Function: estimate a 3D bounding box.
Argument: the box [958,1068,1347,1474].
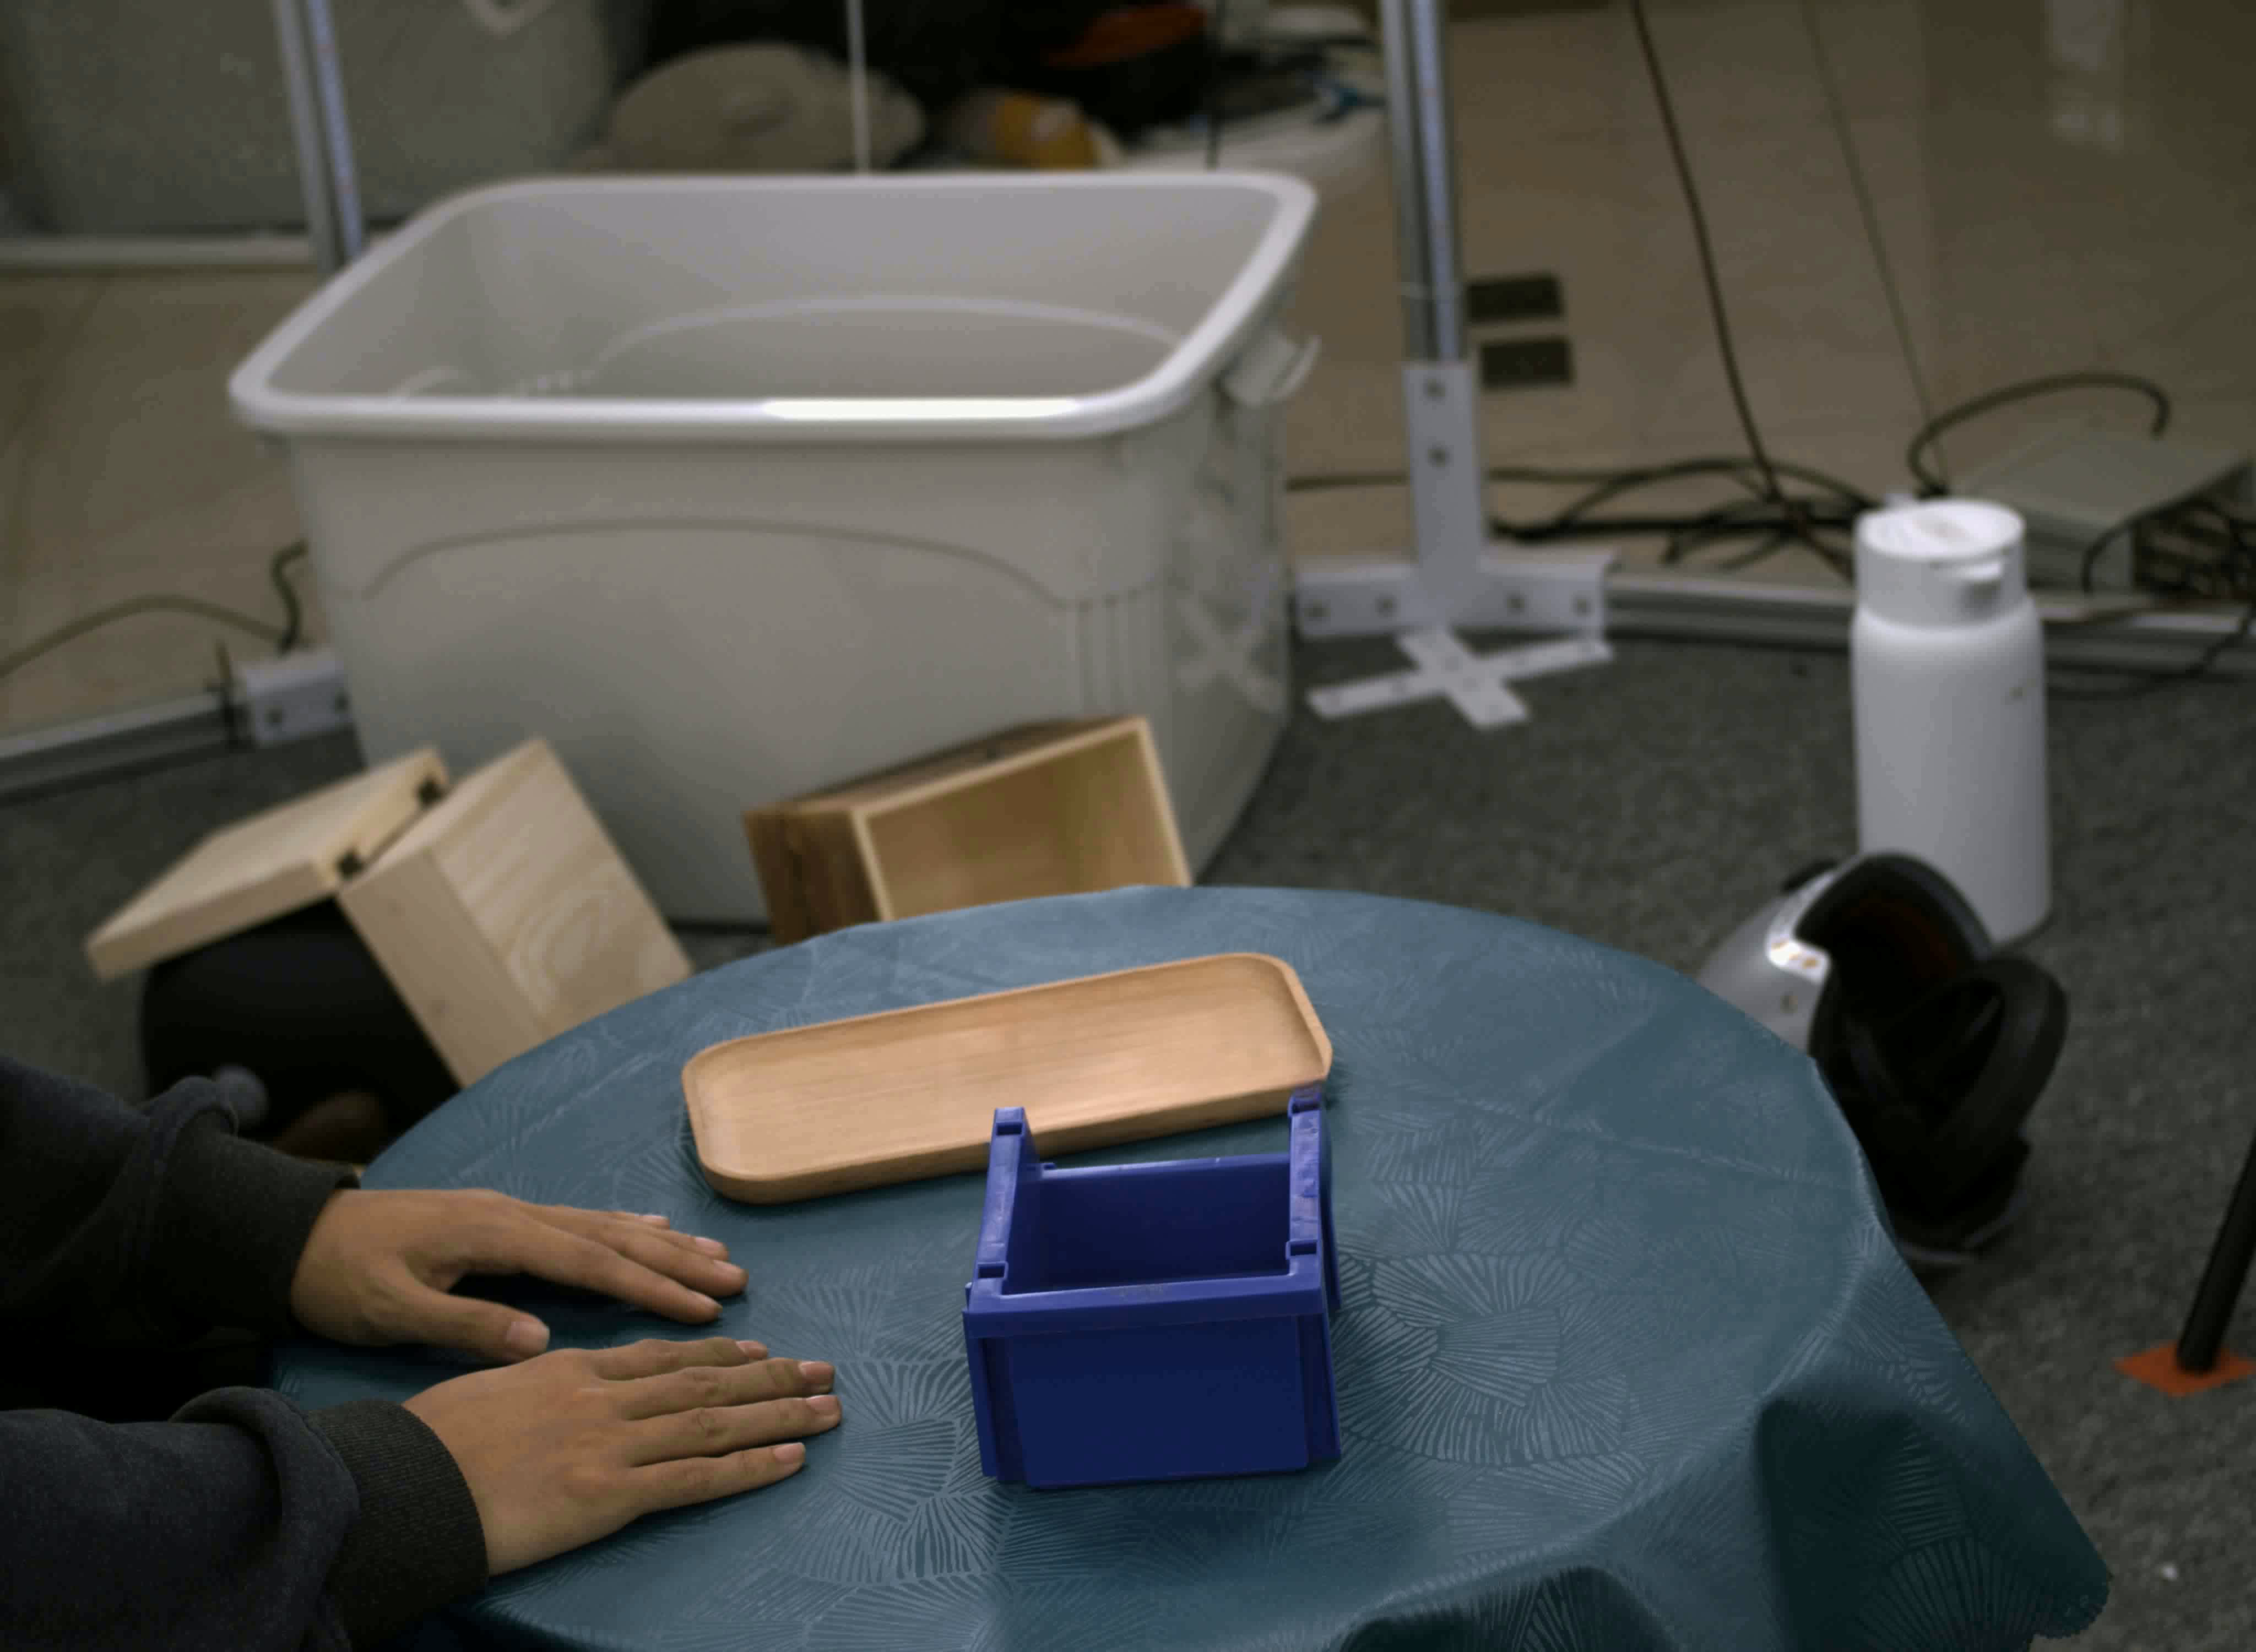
[{"bbox_3d":[0.010,0.153,2.016,0.124,0.083,0.176,-4,29,7],"label":"box"}]

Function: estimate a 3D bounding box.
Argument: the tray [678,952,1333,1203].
[{"bbox_3d":[-0.049,0.098,2.225,0.250,0.023,0.129,-10,22,-6],"label":"tray"}]
